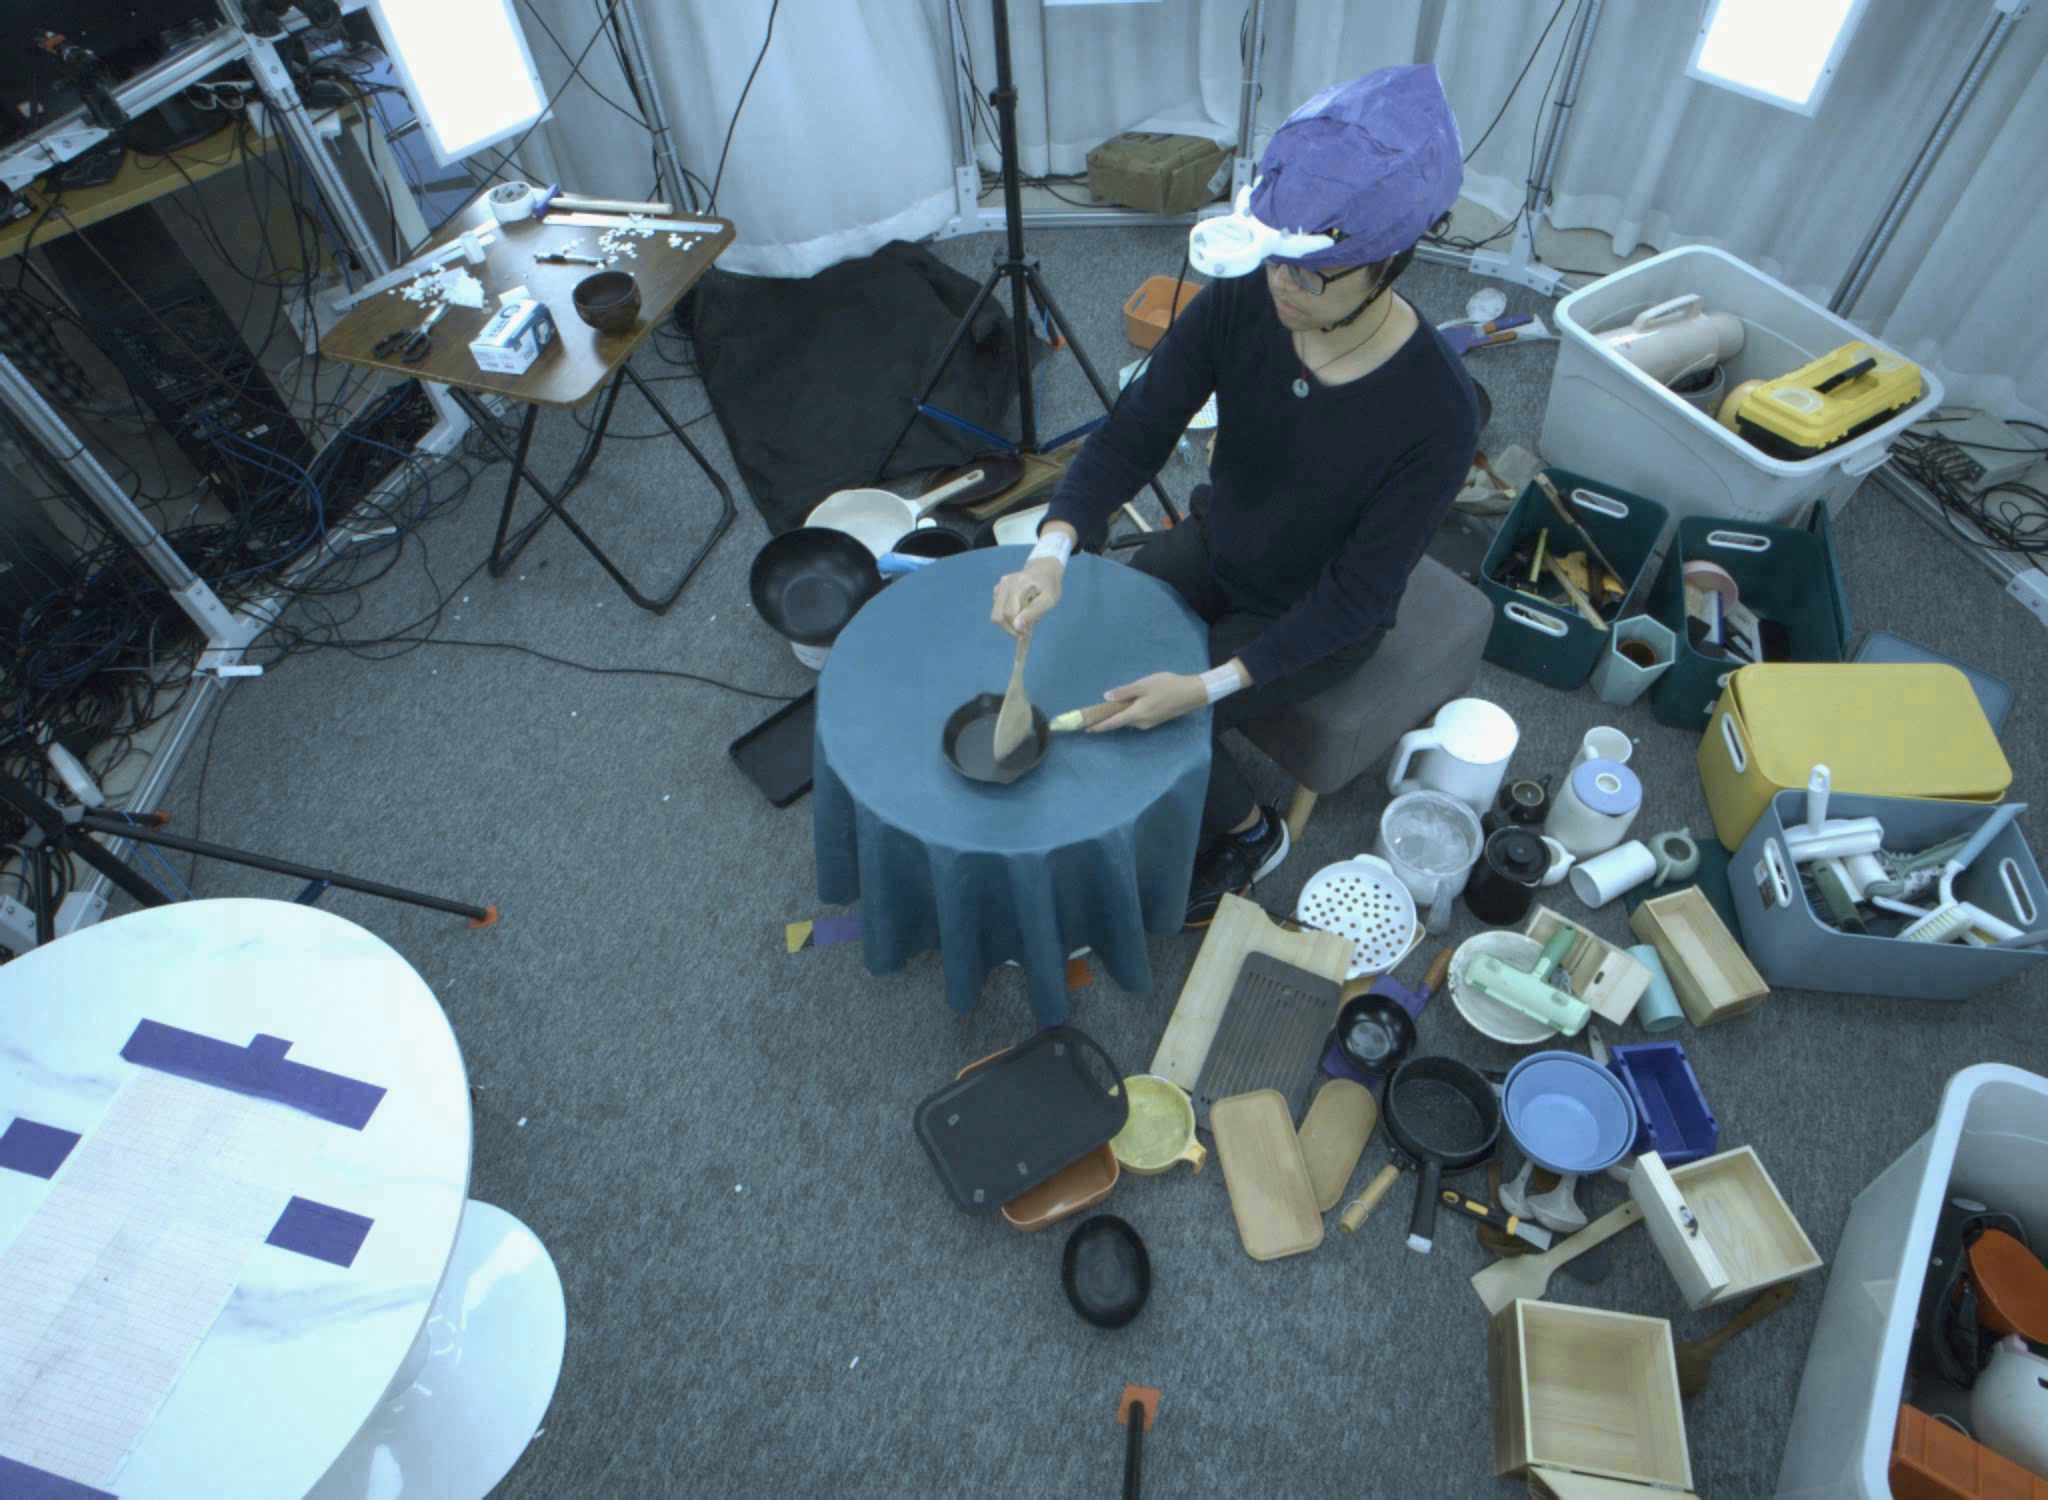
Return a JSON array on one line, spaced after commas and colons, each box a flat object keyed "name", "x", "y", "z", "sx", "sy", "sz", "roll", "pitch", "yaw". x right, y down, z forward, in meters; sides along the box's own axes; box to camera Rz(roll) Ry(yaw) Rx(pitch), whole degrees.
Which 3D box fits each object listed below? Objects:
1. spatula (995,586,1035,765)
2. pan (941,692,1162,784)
[{"name": "spatula", "x": -0.005, "y": -0.101, "z": 1.660, "sx": 0.016, "sy": 0.329, "sz": 0.080, "roll": 36, "pitch": 58, "yaw": 20}, {"name": "pan", "x": 0.042, "y": -0.033, "z": 1.778, "sx": 0.325, "sy": 0.050, "sz": 0.166, "roll": -12, "pitch": 55, "yaw": -5}]
